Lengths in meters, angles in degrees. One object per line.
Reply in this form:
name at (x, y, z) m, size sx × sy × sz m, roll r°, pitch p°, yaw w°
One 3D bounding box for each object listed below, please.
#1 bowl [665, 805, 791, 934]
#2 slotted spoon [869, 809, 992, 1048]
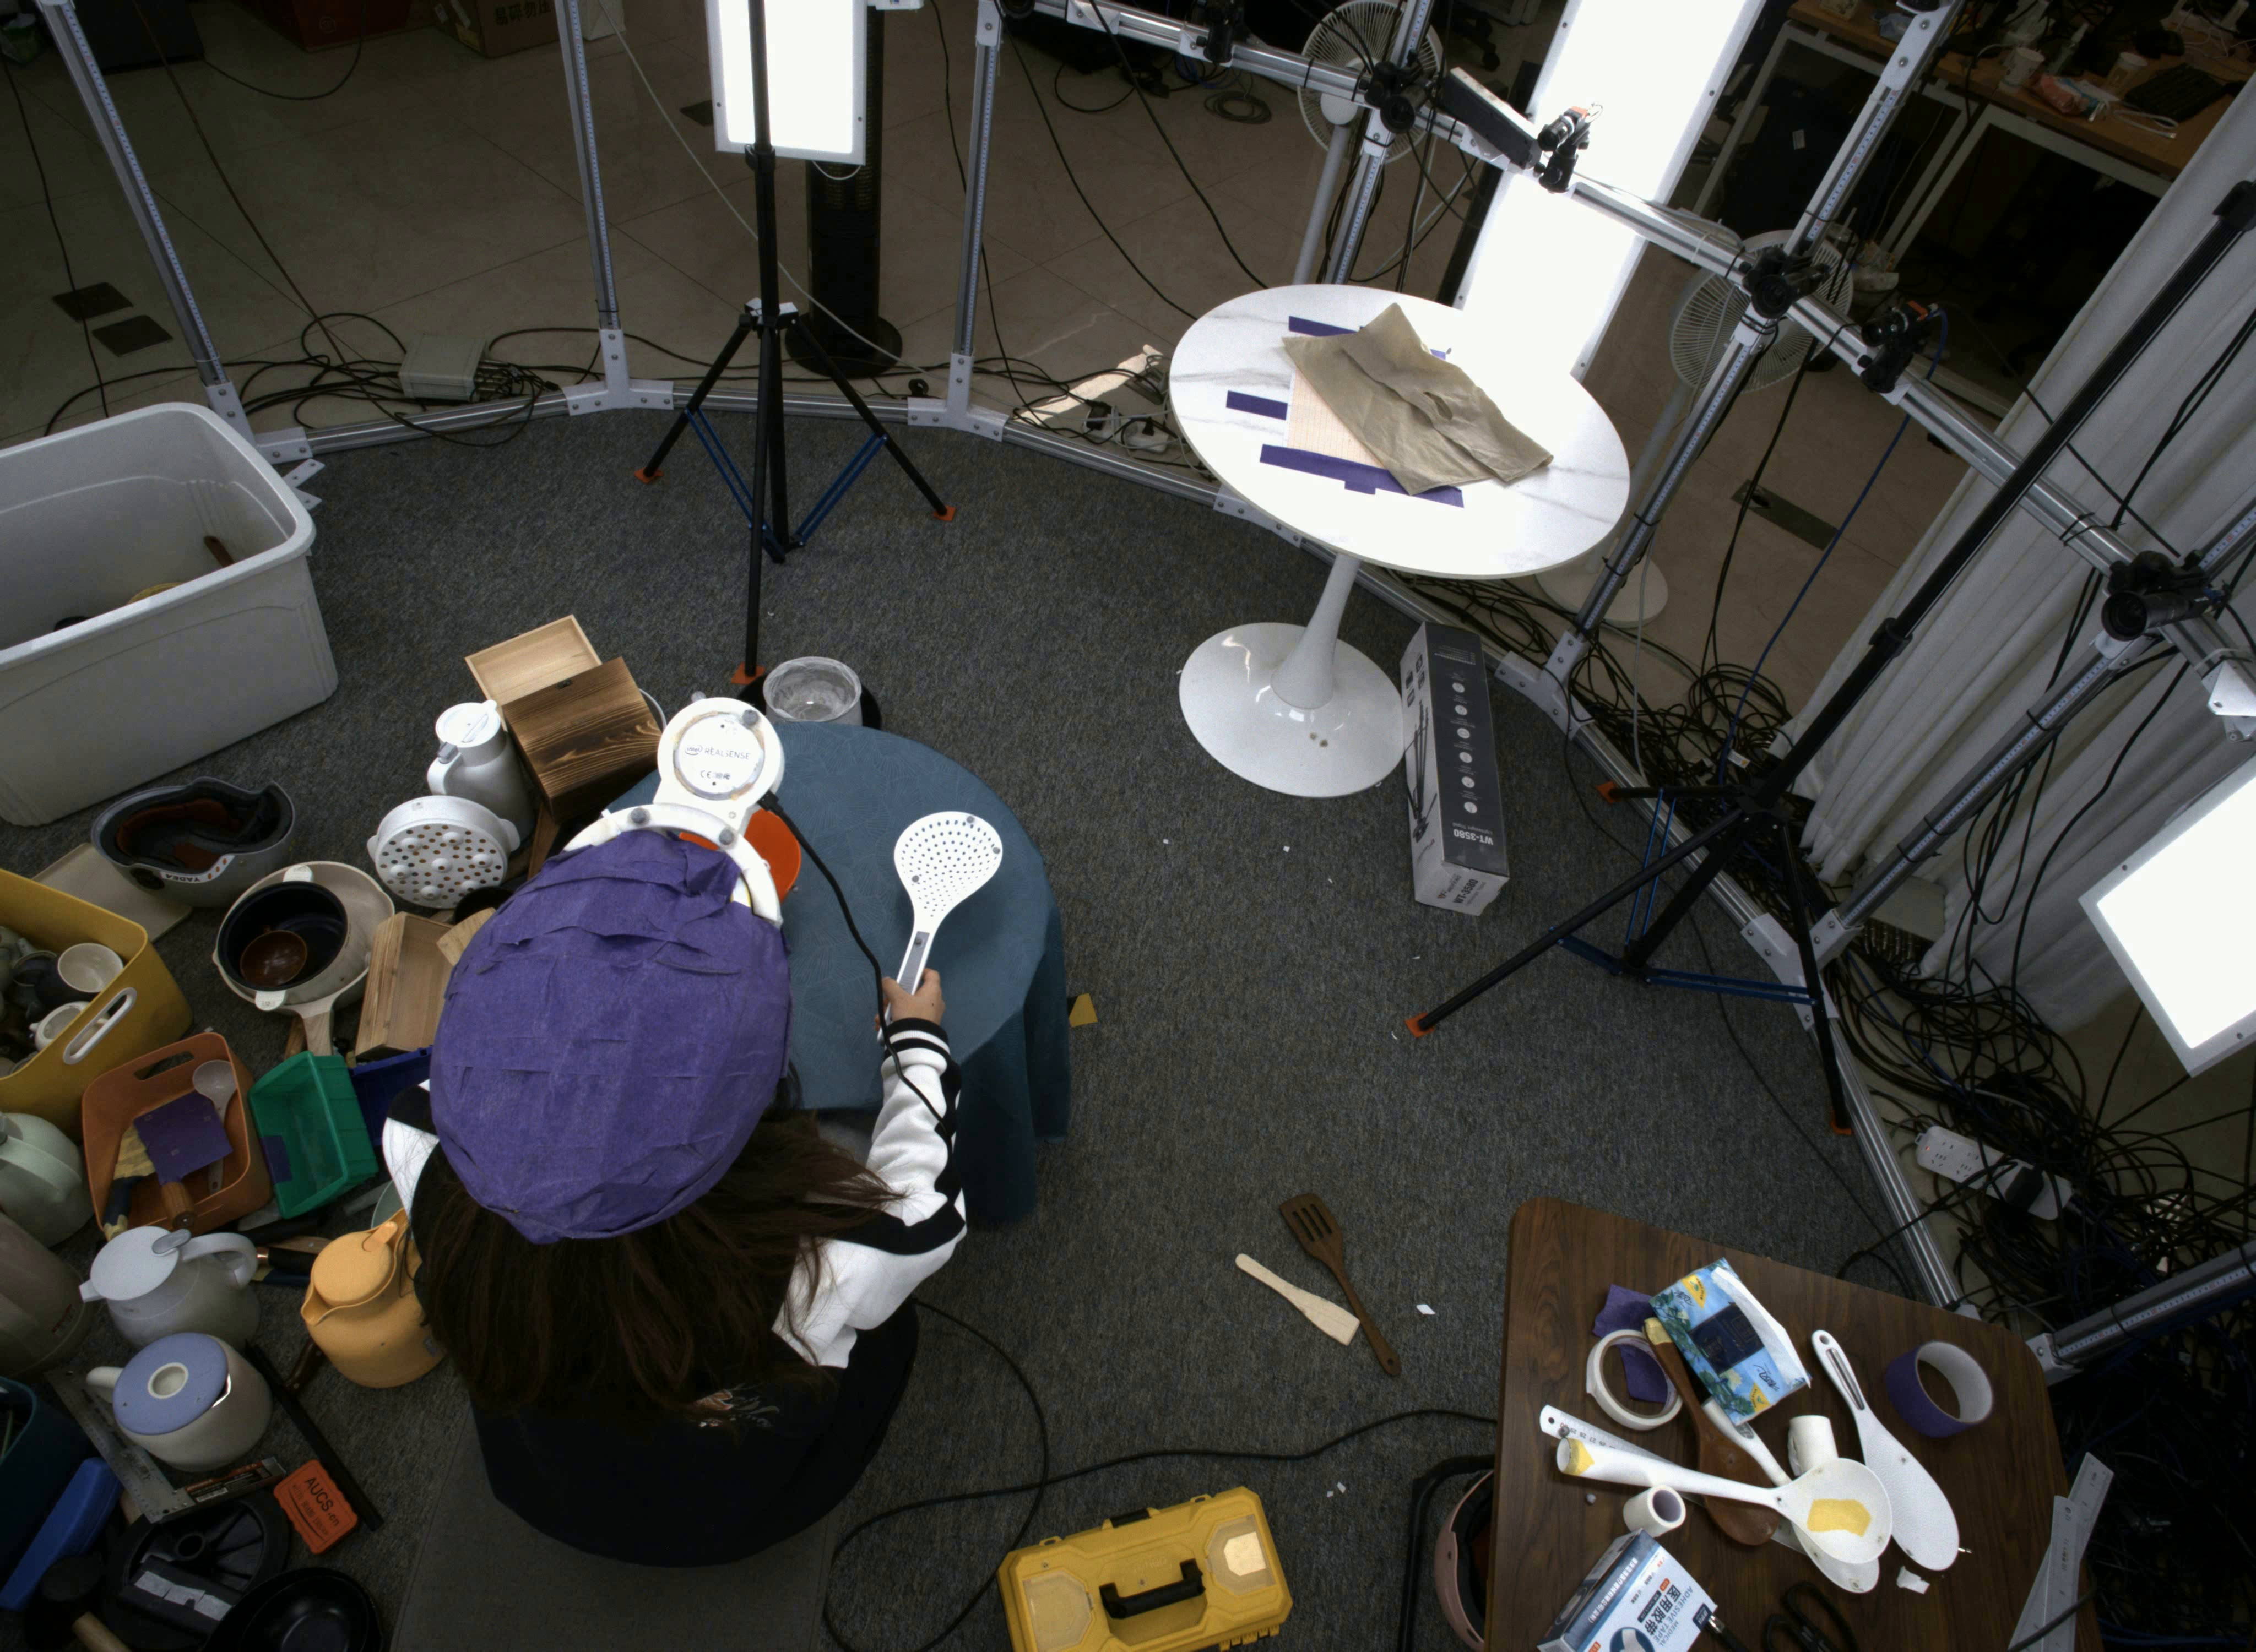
bowl at (-0.487, 0.063, 1.575) m, size 0.148 × 0.106 × 0.145 m, roll 10°, pitch 49°, yaw -10°
slotted spoon at (-0.255, 0.116, 1.584) m, size 0.134 × 0.047 × 0.344 m, roll 8°, pitch 46°, yaw 3°
